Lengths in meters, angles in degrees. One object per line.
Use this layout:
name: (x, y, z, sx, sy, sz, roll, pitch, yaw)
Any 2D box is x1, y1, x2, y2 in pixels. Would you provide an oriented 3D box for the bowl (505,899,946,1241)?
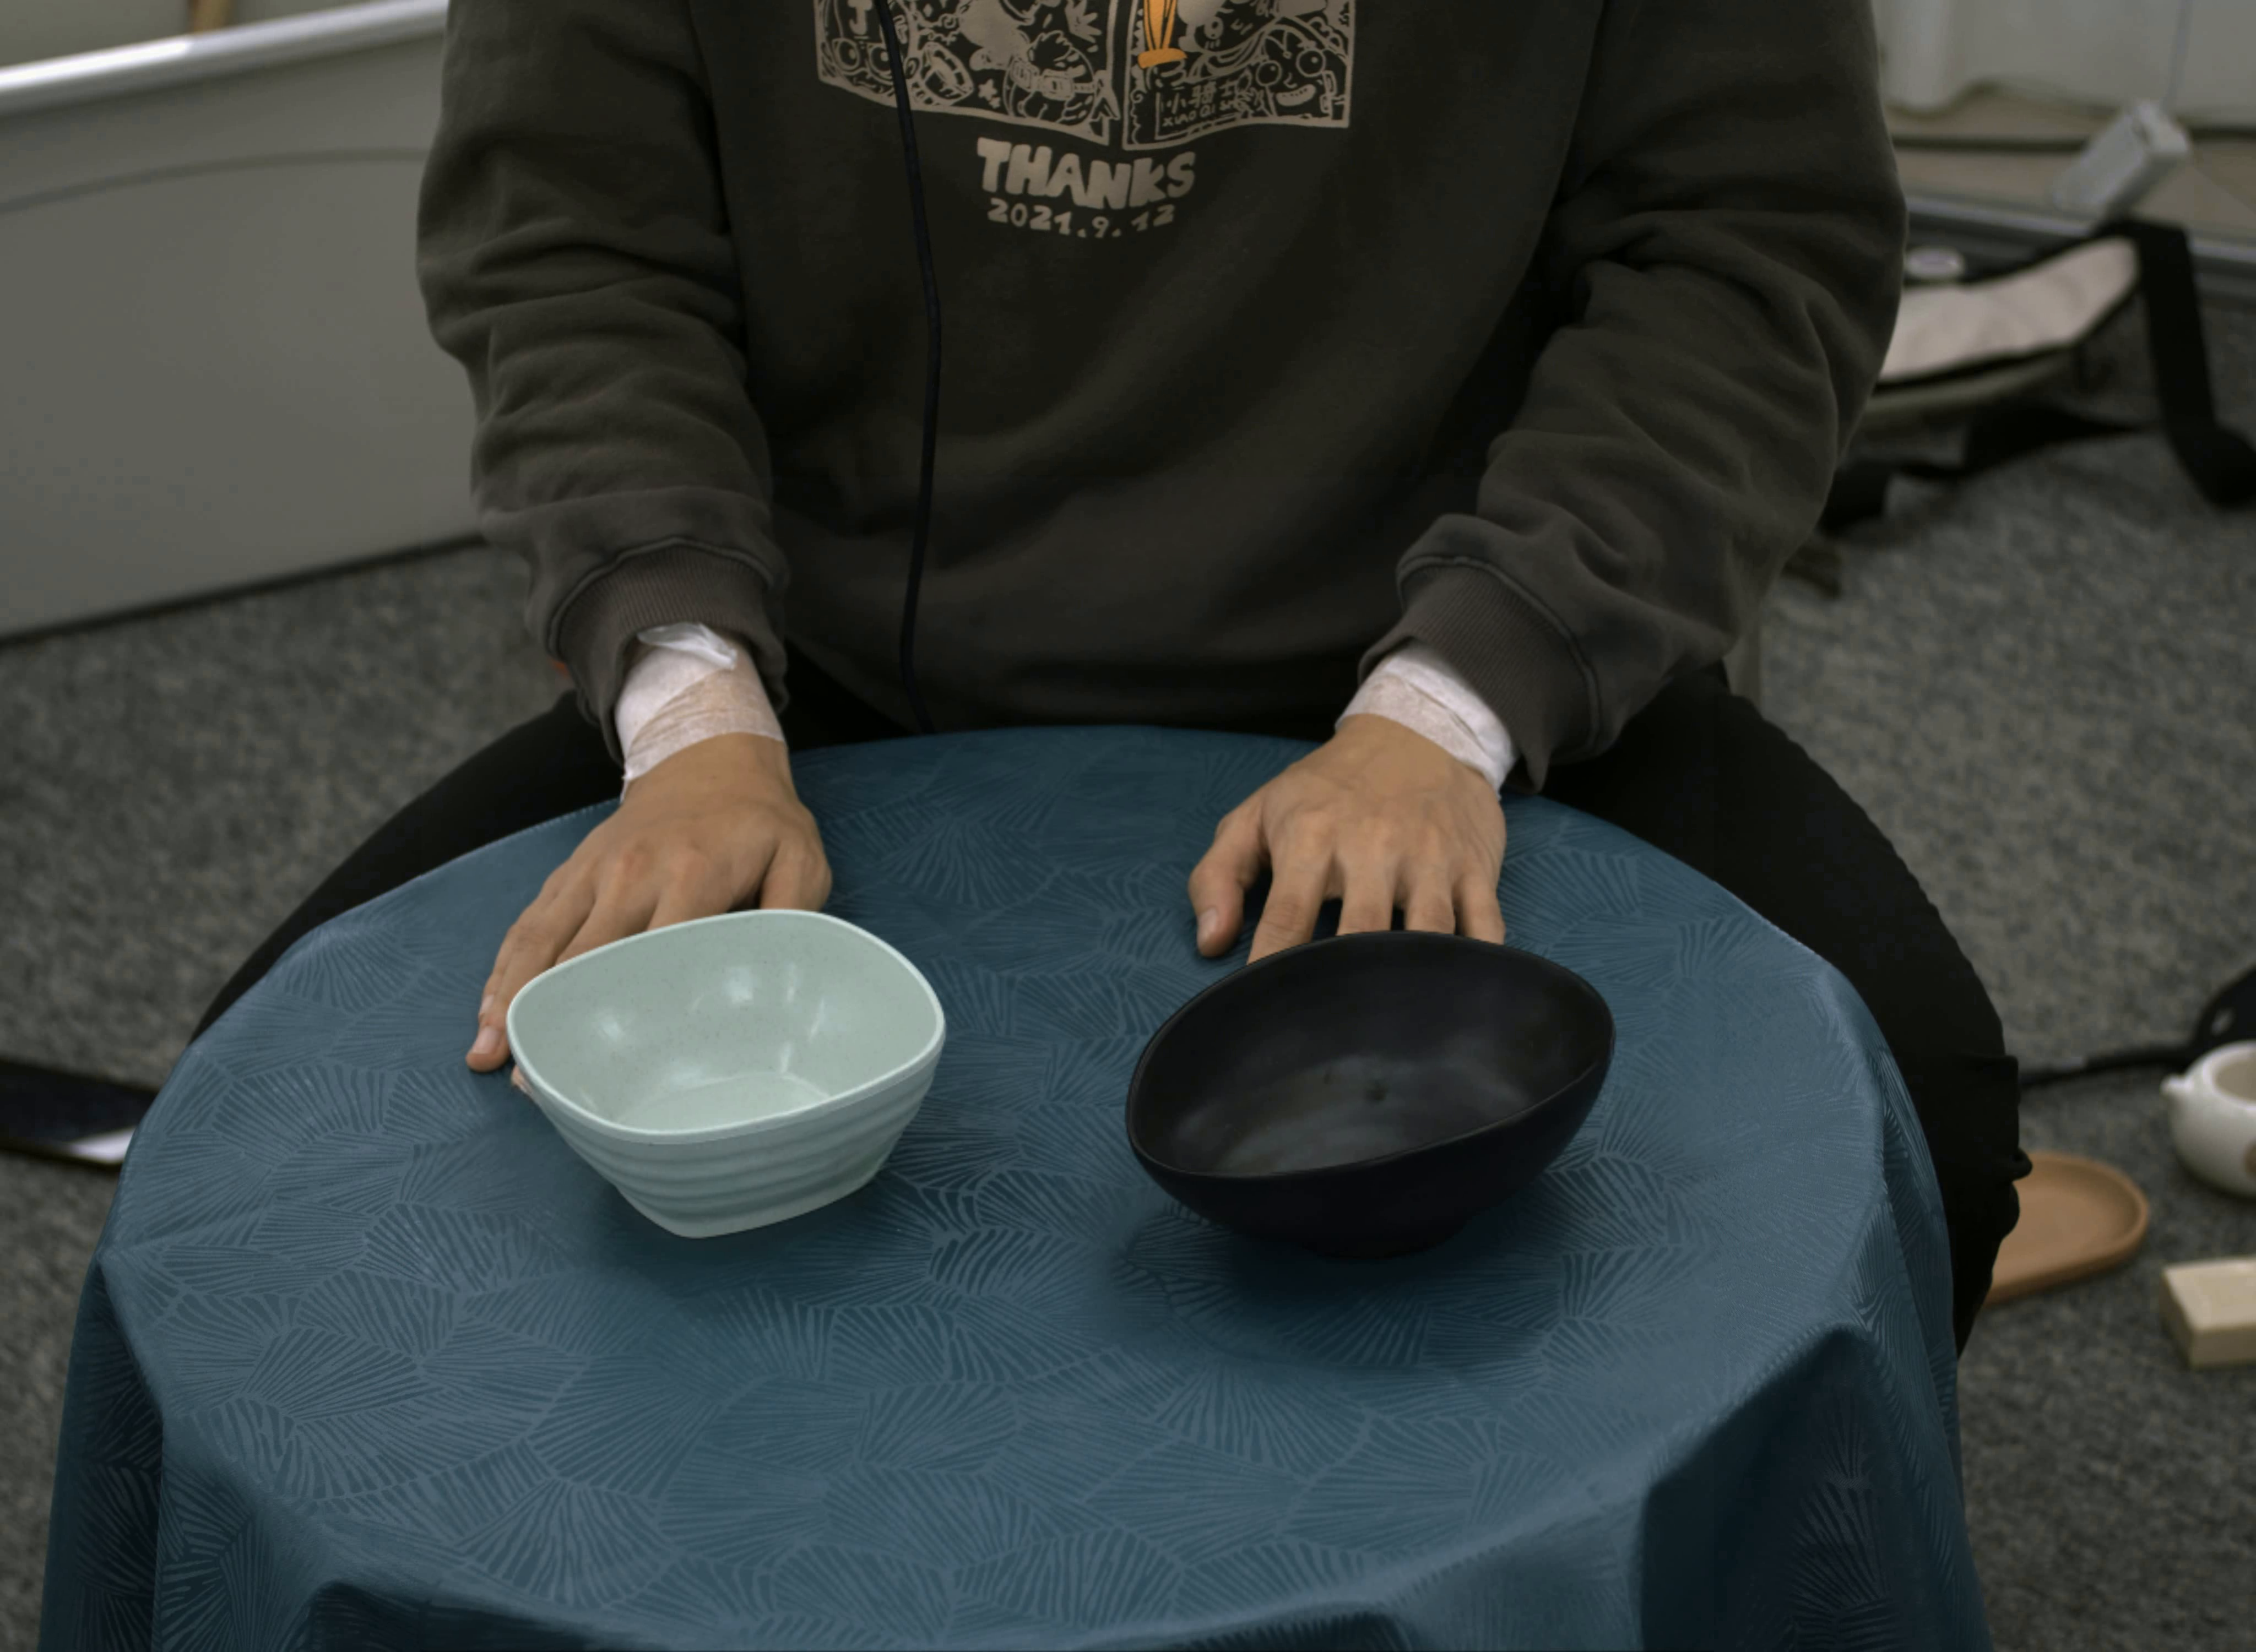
bowl: (-0.133, 0.088, 1.876, 0.151, 0.058, 0.154, -2, 30, 1)

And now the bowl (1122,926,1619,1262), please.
bowl: (0.081, 0.098, 1.831, 0.171, 0.066, 0.138, -19, 31, -26)
